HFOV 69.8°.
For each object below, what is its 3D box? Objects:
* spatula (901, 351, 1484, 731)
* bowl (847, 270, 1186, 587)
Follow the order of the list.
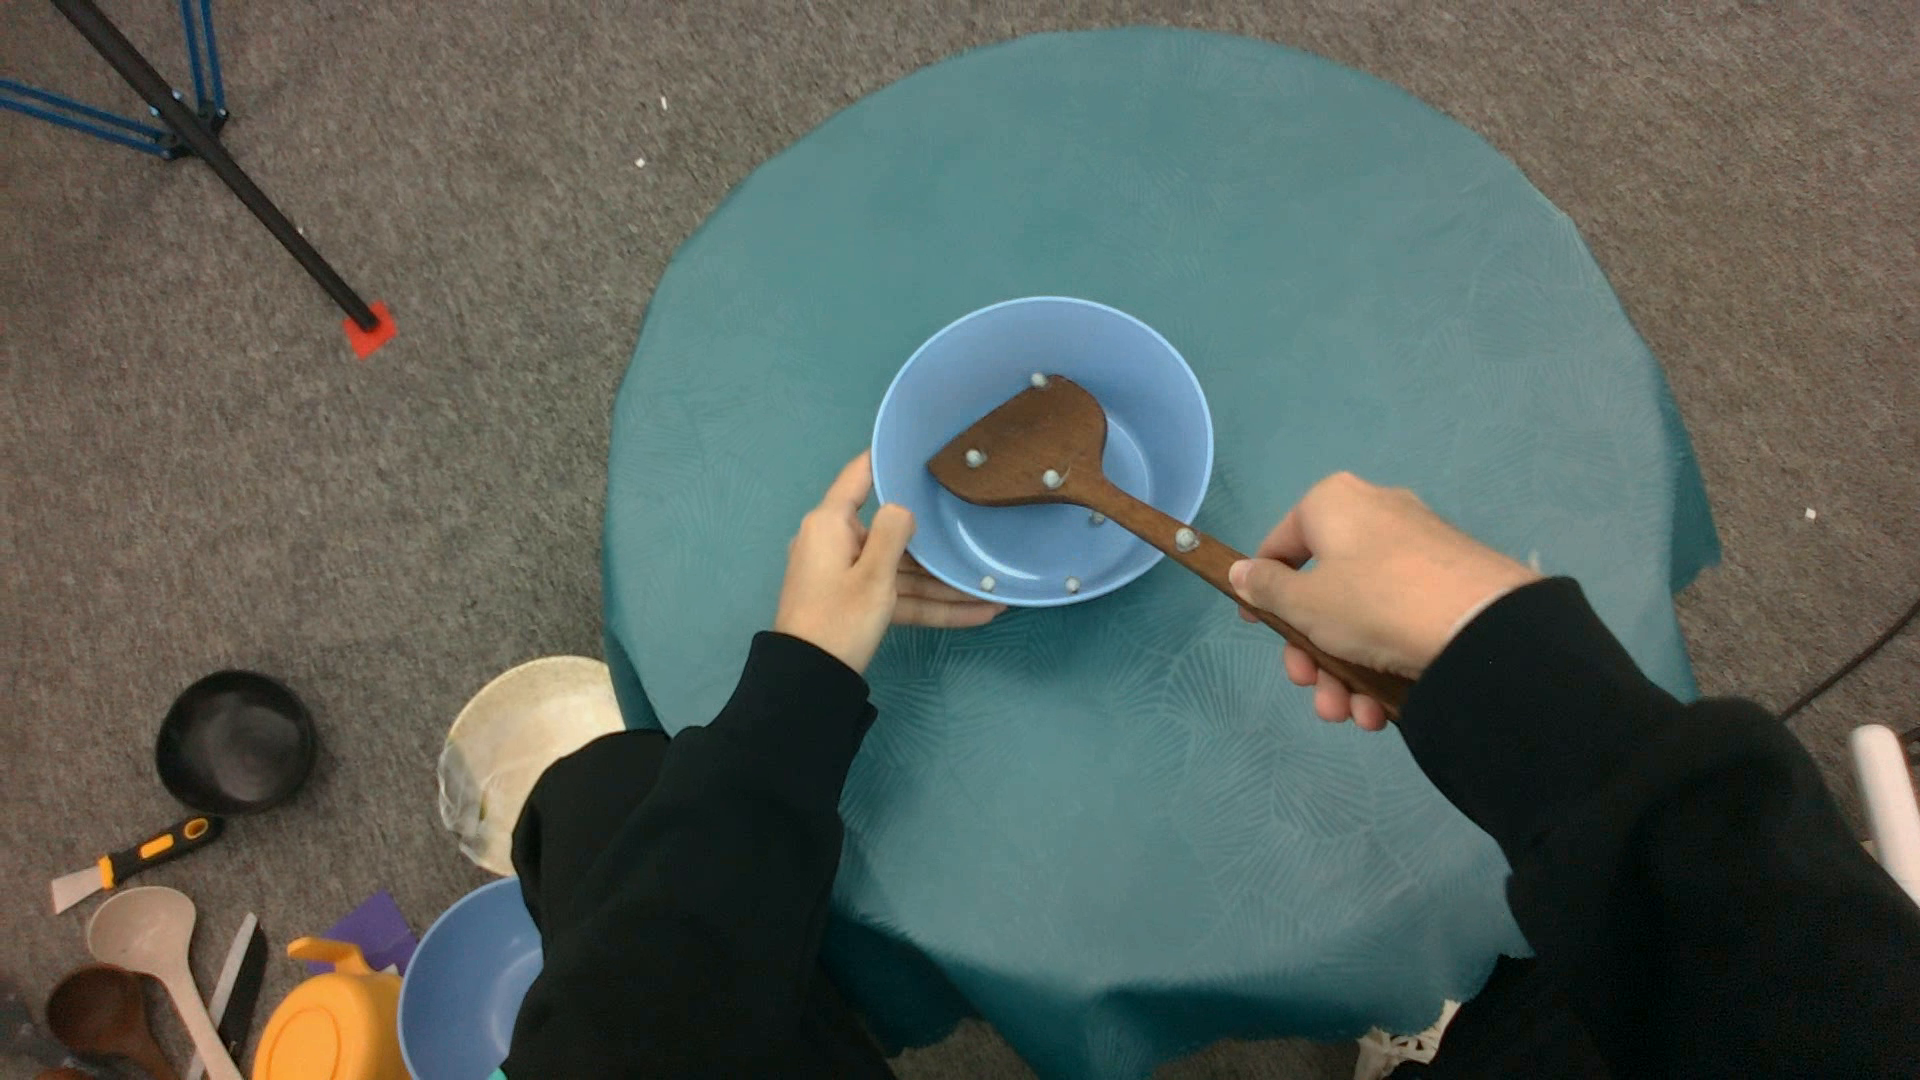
[{"bbox_3d":[0.083,-0.012,0.611,0.096,0.016,0.386,-37,33,-10],"label":"spatula"},{"bbox_3d":[0.032,-0.051,0.736,0.176,0.070,0.176,-2,71,7],"label":"bowl"}]
